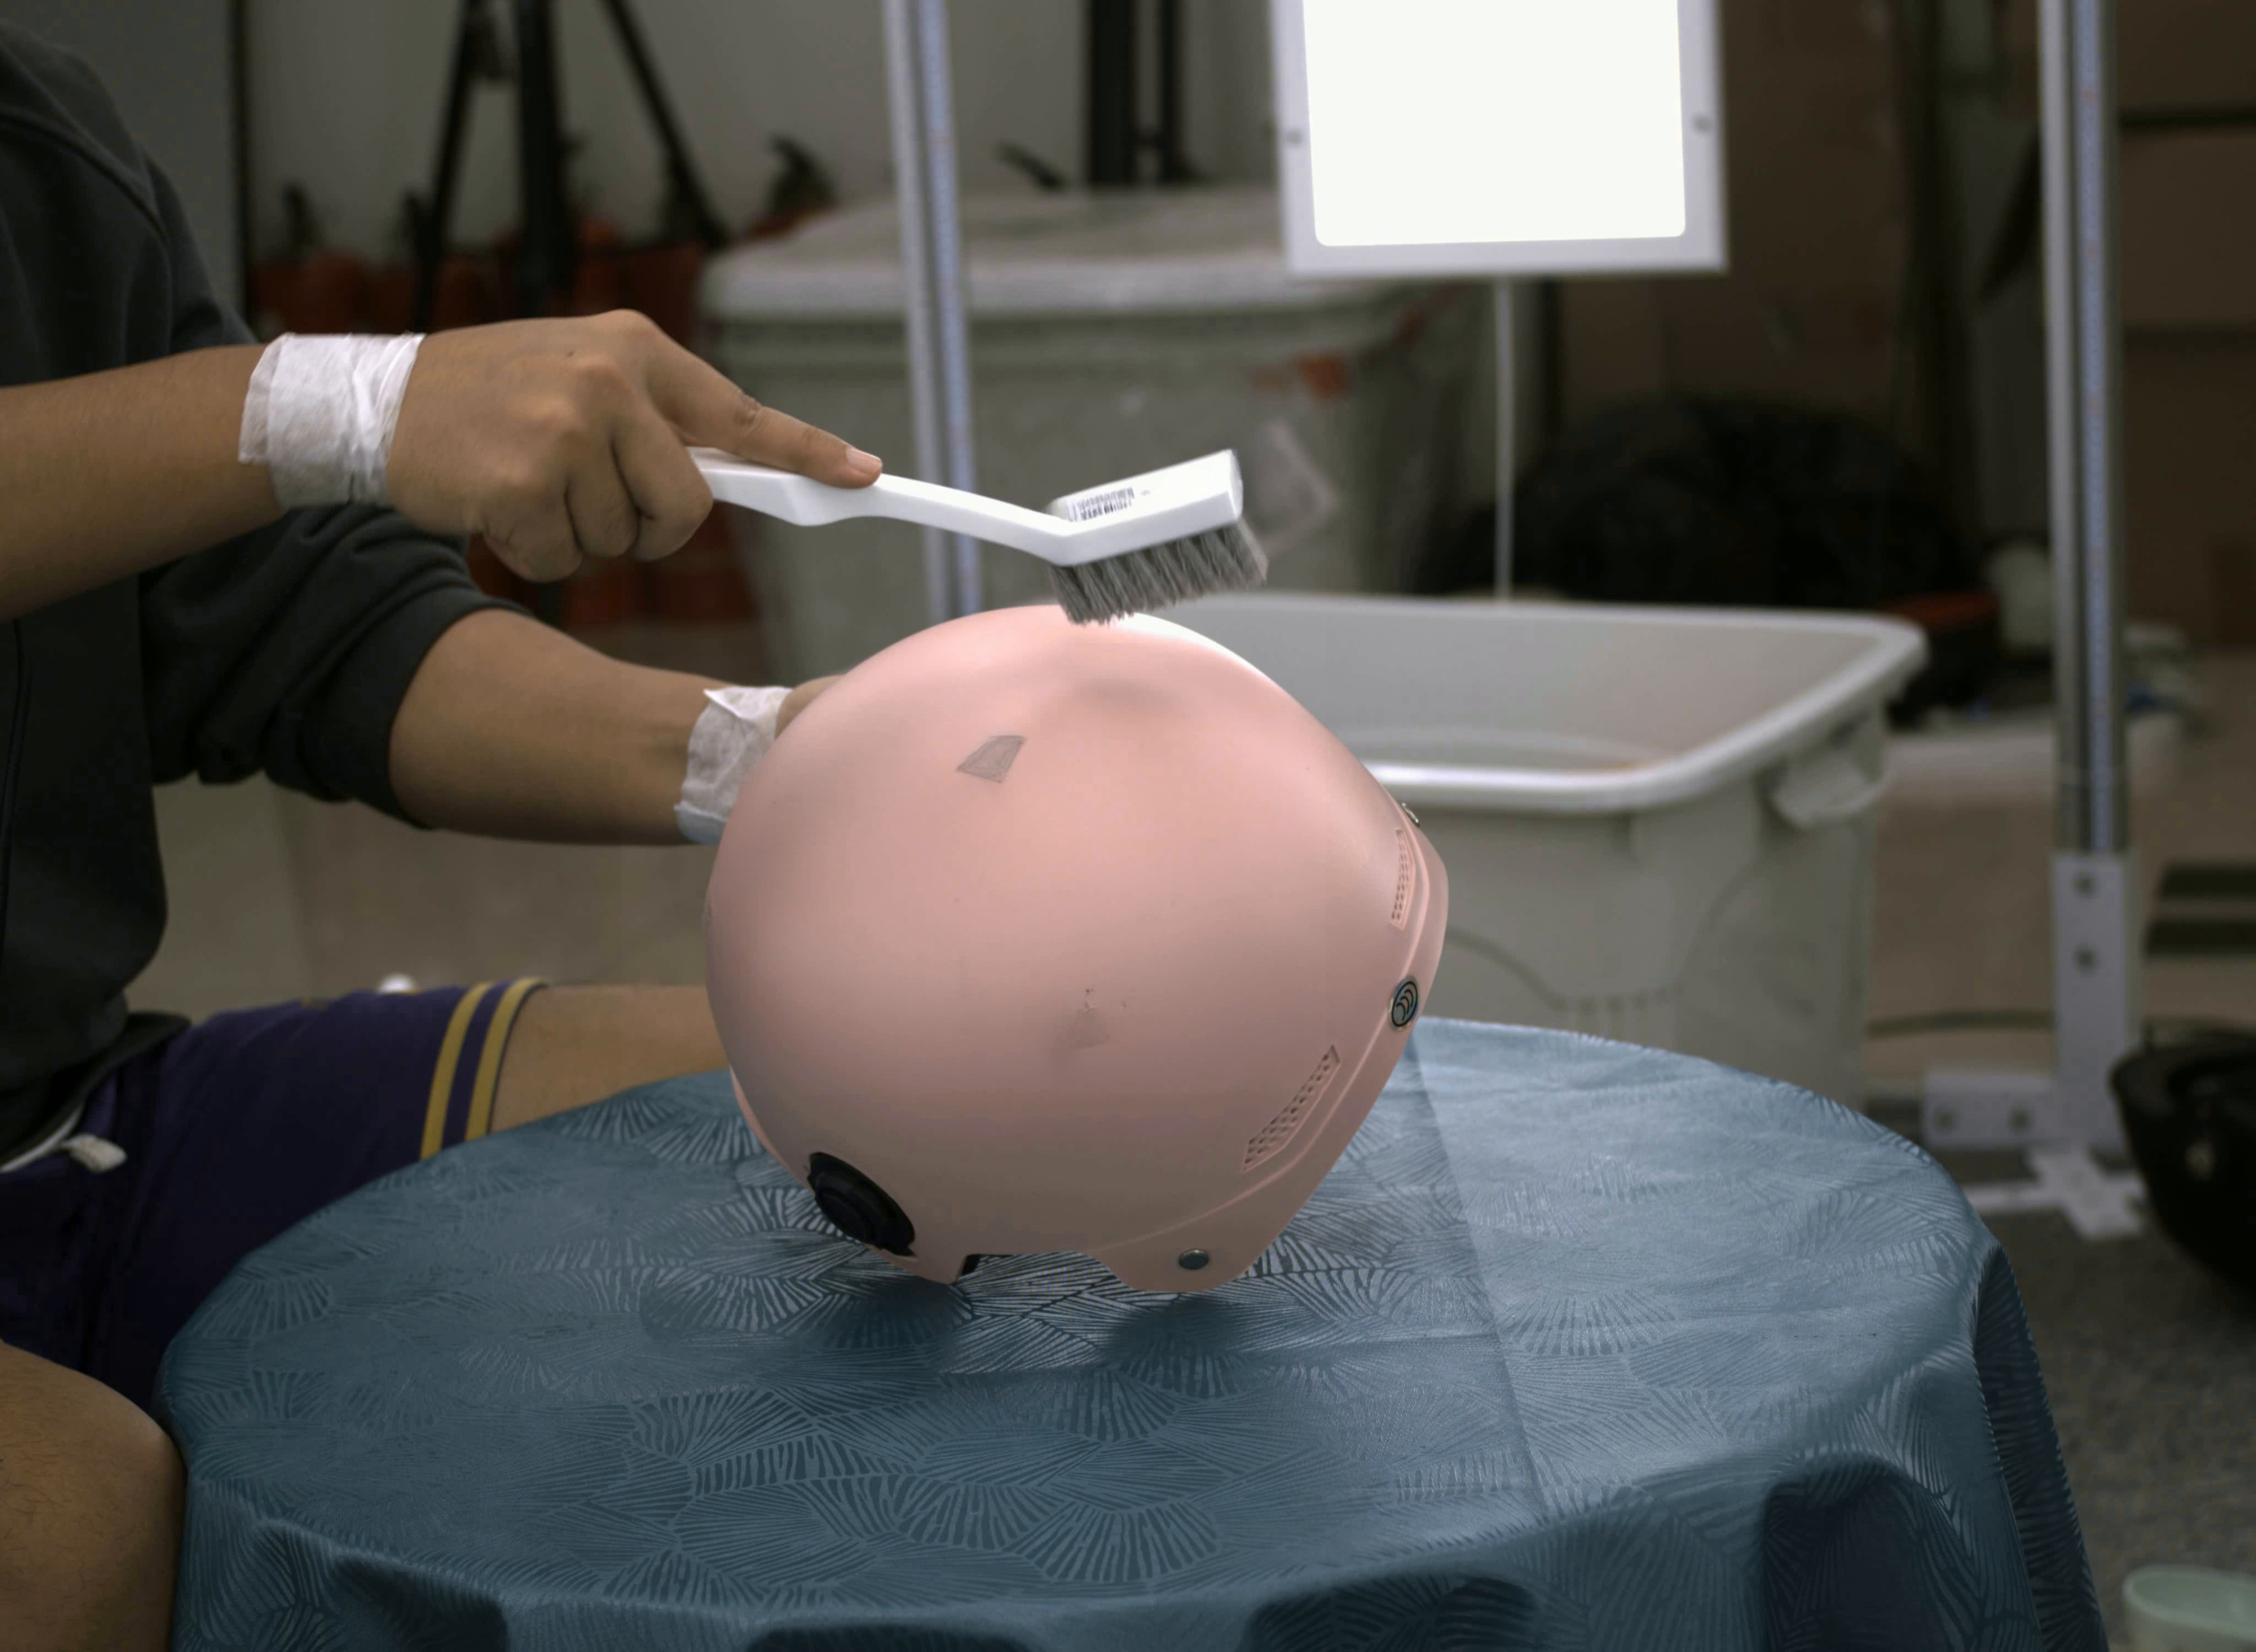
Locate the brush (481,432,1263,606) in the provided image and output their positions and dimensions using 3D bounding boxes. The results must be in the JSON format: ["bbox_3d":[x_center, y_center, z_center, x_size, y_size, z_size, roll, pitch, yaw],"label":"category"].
[{"bbox_3d":[-0.078,-0.092,1.711,0.242,0.050,0.034,-2,24,-5],"label":"brush"}]

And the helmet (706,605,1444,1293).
[{"bbox_3d":[-0.038,0.022,1.810,0.271,0.157,0.232,9,61,35],"label":"helmet"}]
